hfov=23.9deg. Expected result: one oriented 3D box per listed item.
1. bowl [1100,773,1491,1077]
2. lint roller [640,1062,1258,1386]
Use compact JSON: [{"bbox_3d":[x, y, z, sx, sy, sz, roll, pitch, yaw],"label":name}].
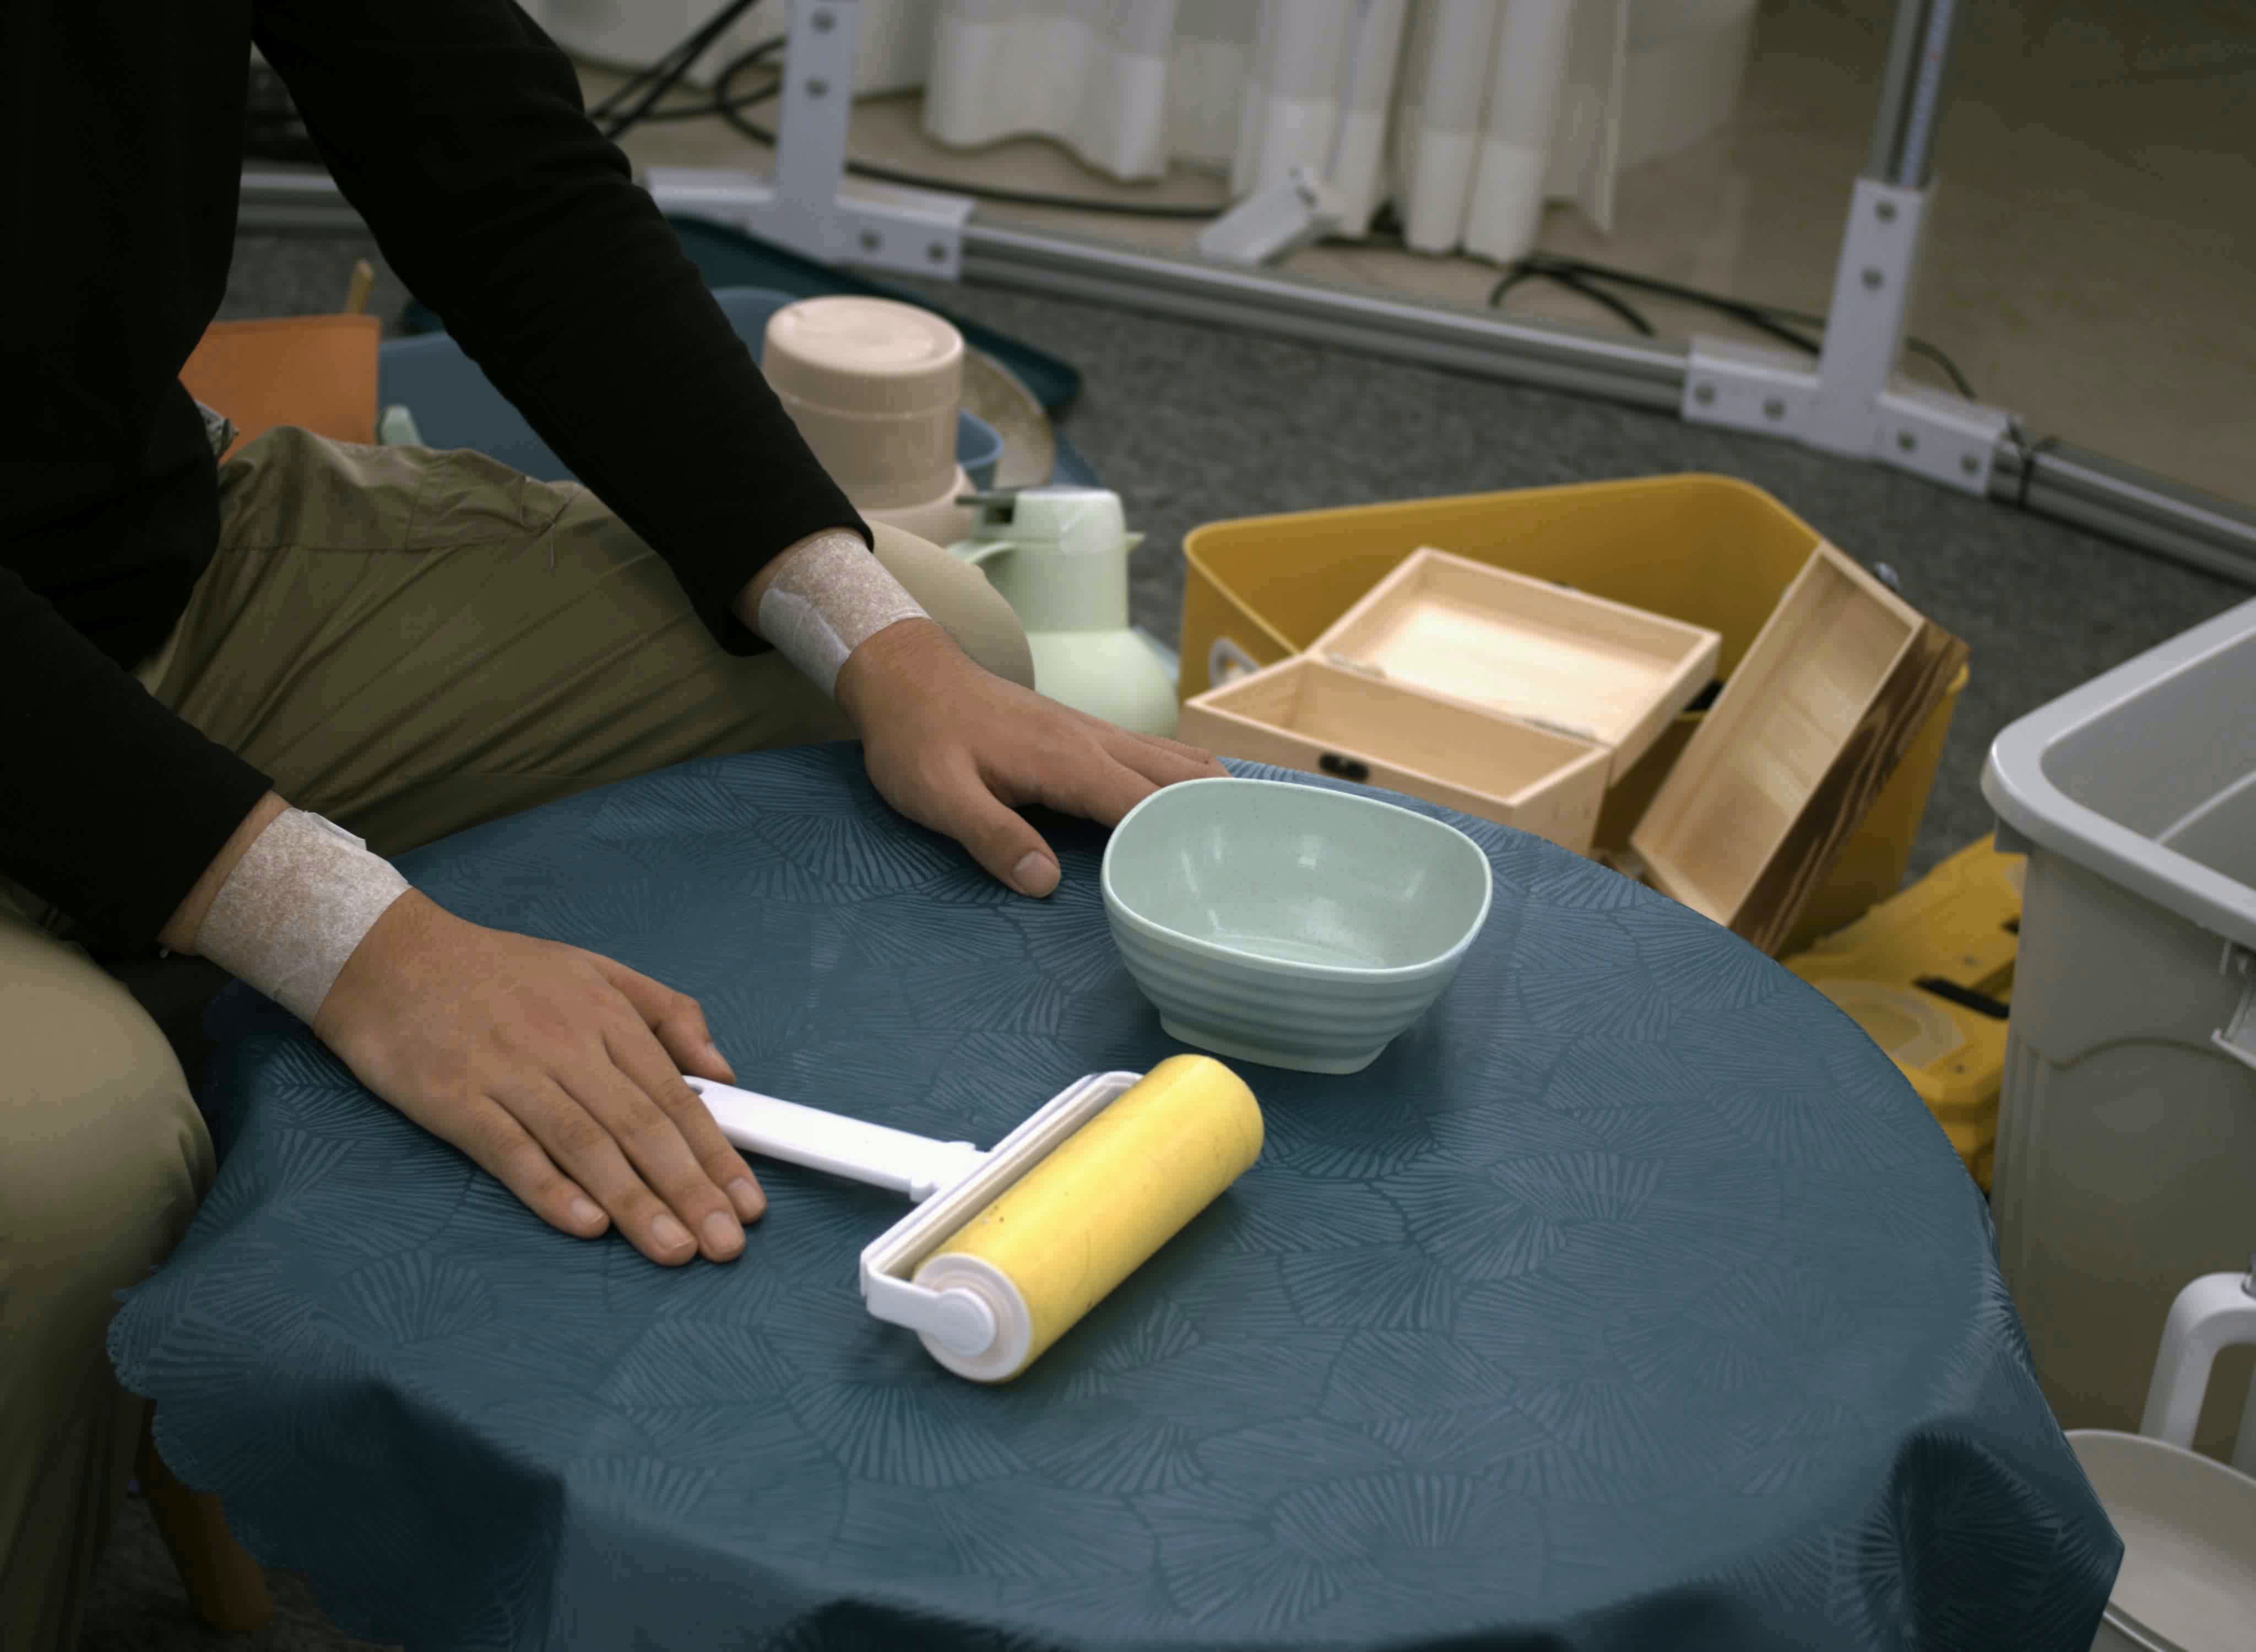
[{"bbox_3d":[0.057,0.041,1.914,0.151,0.058,0.152,6,28,-4],"label":"bowl"},{"bbox_3d":[-0.076,0.105,1.765,0.193,0.051,0.174,22,30,19],"label":"lint roller"}]
